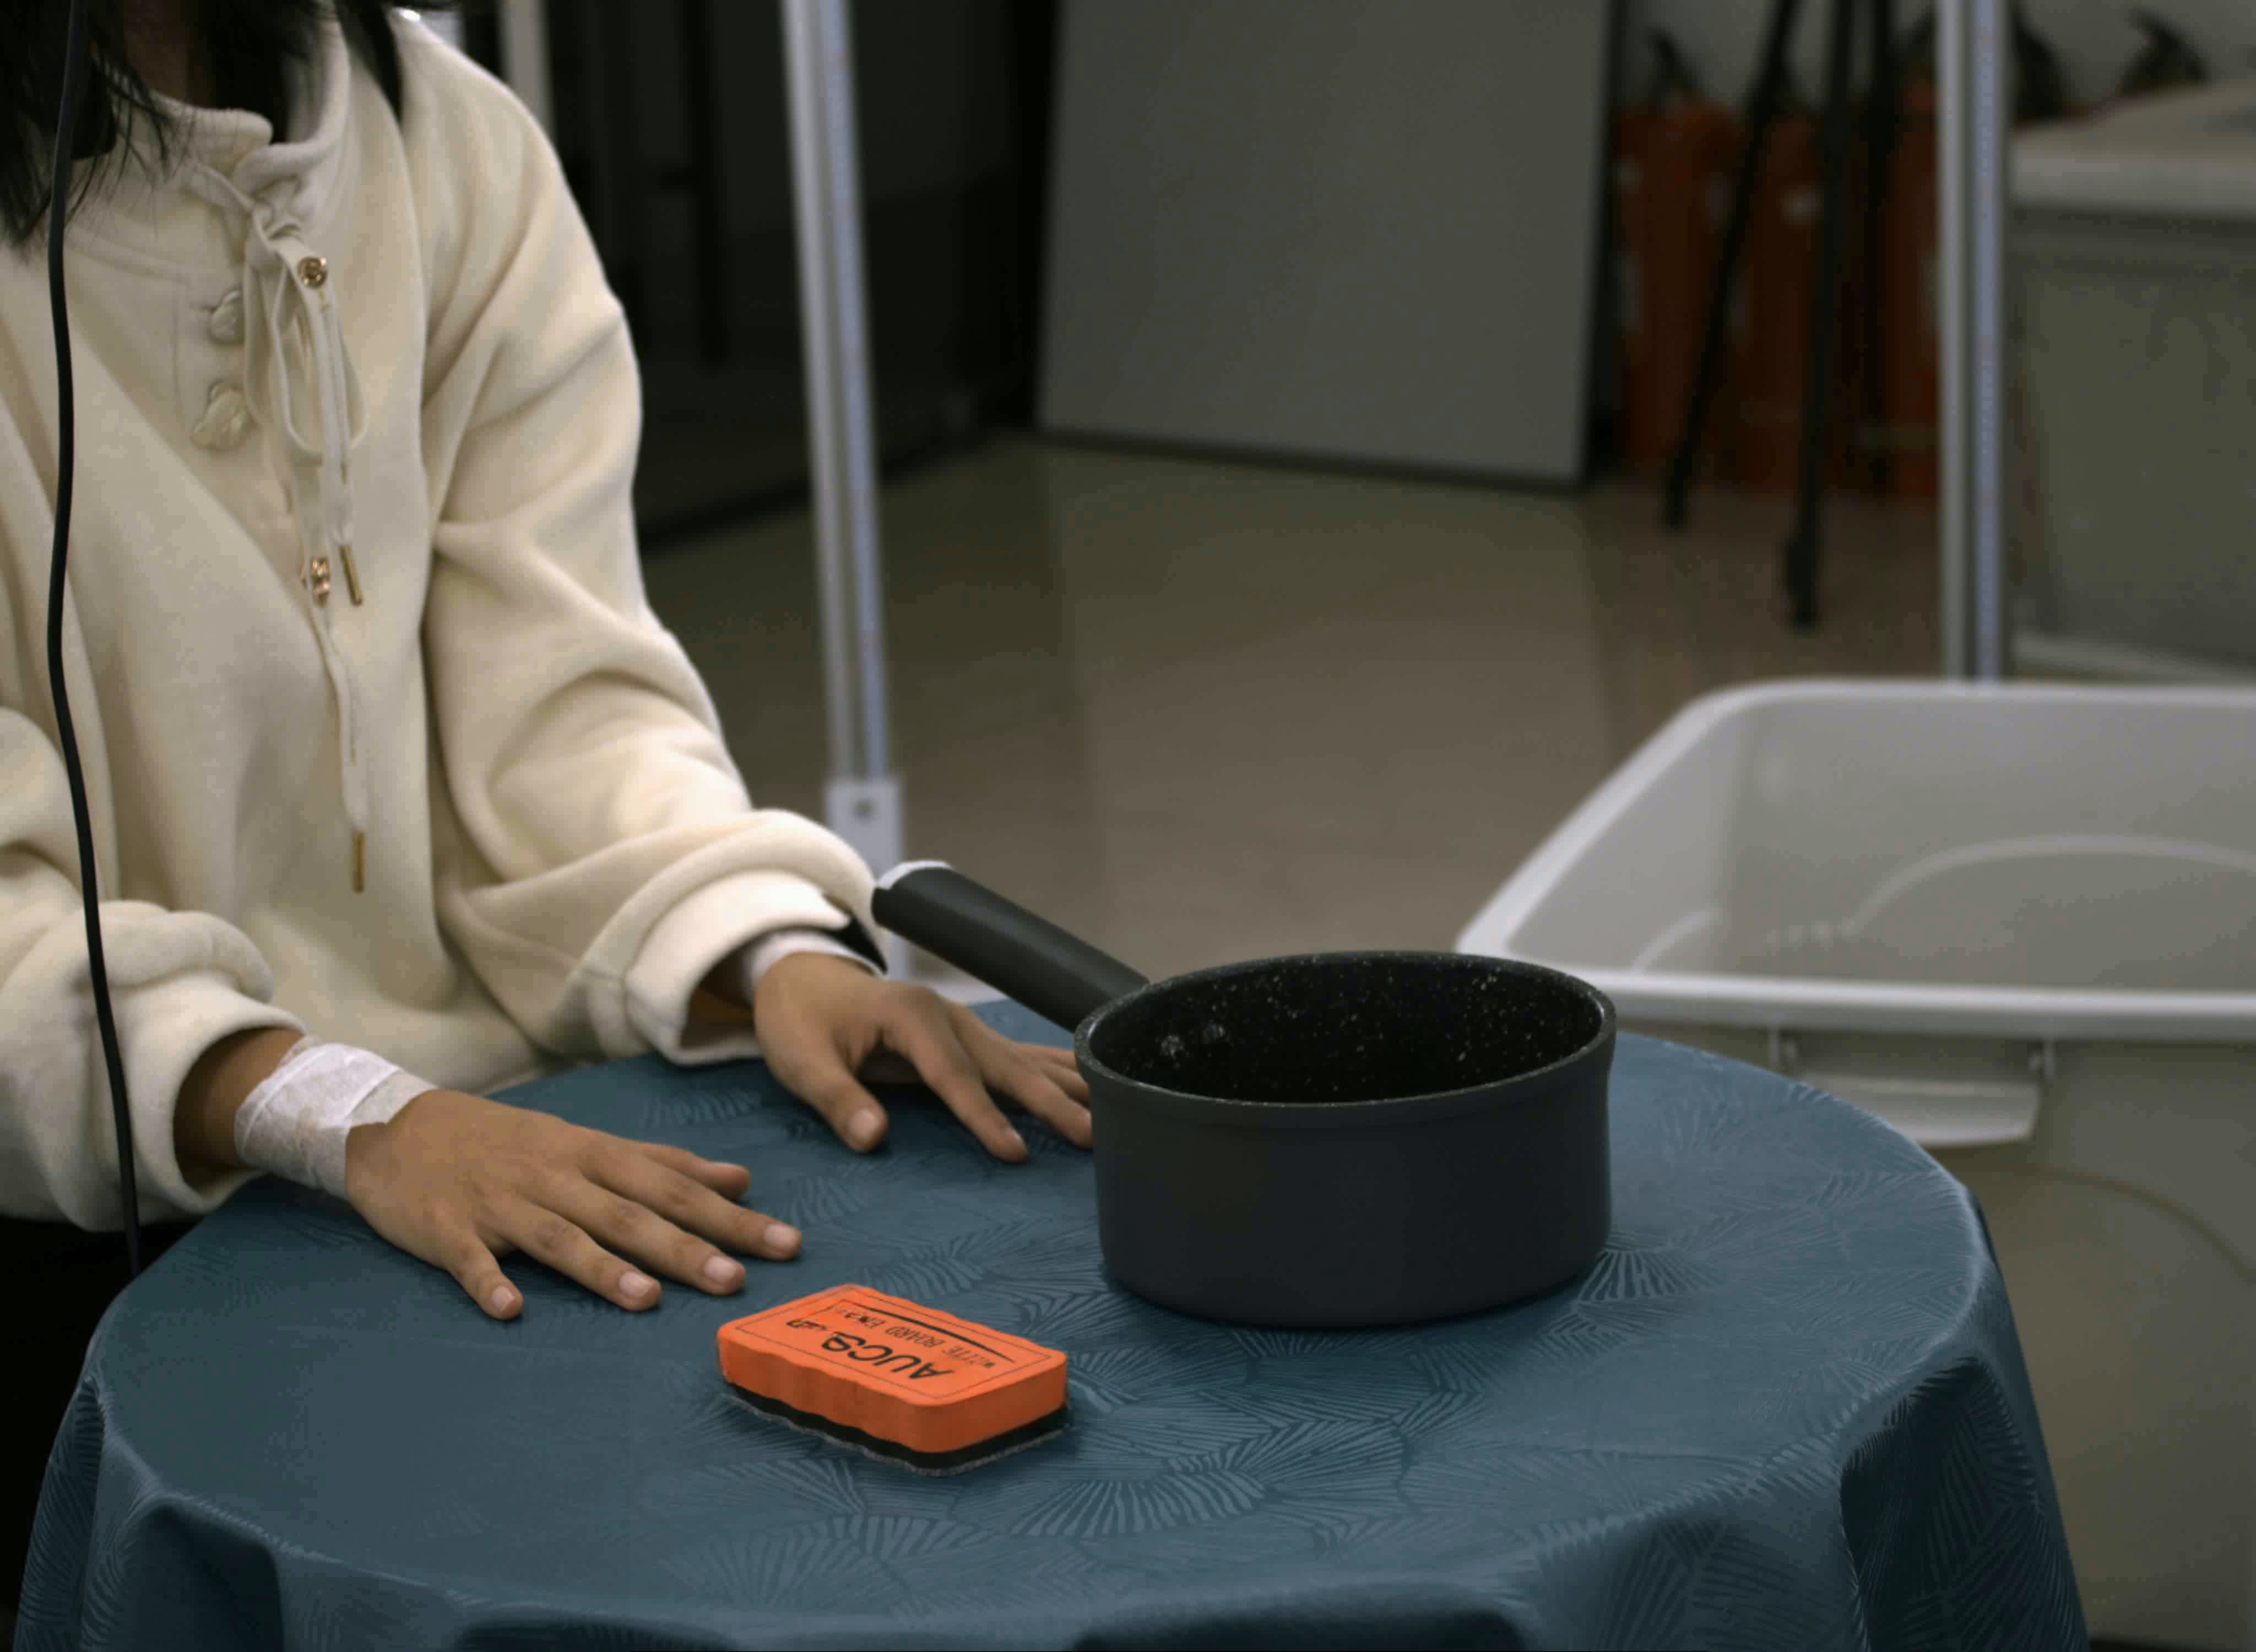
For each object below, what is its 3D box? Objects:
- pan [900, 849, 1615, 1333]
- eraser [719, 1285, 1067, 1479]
[{"bbox_3d":[0.025,0.081,1.750,0.168,0.087,0.332,-12,17,-32],"label":"pan"},{"bbox_3d":[-0.069,0.161,1.576,0.058,0.023,0.109,-15,17,-37],"label":"eraser"}]
